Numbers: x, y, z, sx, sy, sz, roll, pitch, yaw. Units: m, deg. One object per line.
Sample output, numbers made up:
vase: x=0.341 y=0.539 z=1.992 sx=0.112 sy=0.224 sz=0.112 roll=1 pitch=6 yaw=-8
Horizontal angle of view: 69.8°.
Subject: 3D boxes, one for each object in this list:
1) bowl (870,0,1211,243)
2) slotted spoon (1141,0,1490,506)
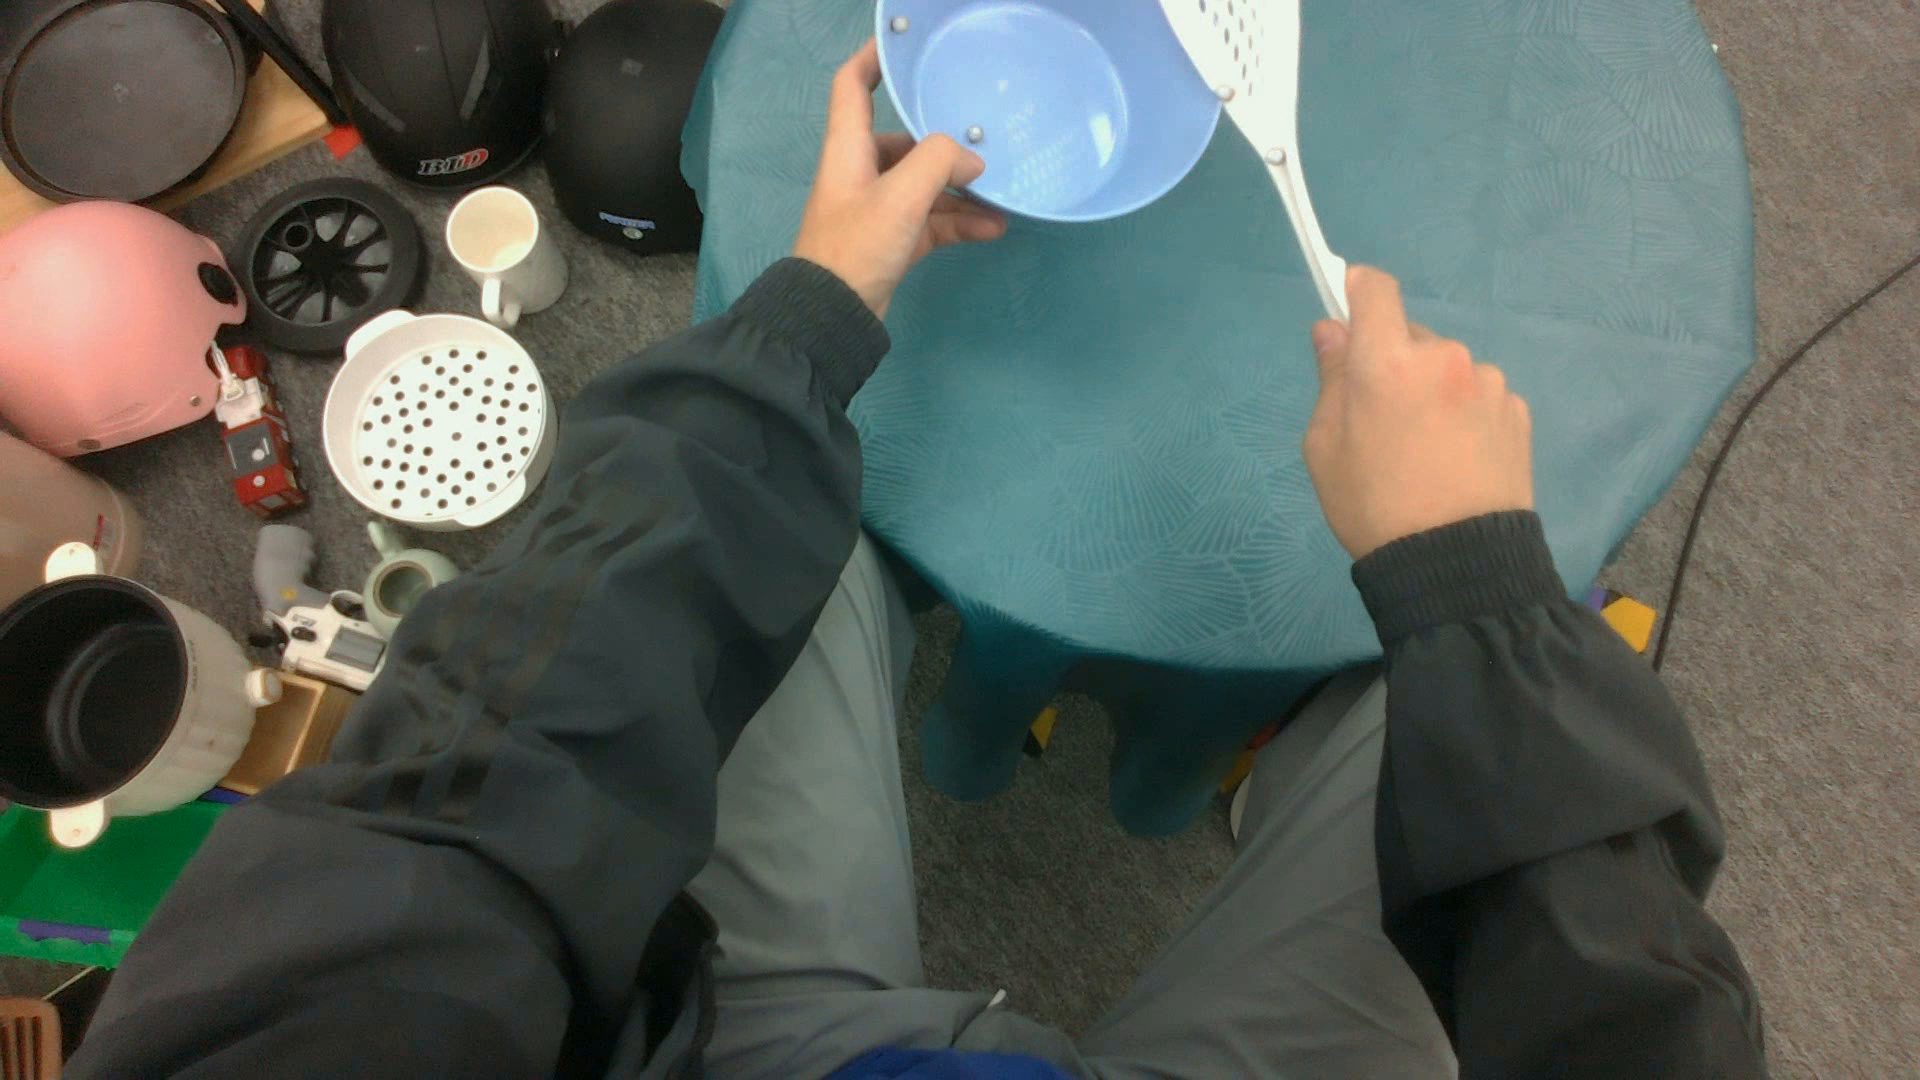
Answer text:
bowl: x=0.036 y=-0.225 z=0.713 sx=0.176 sy=0.070 sz=0.176 roll=3 pitch=79 yaw=-13
slotted spoon: x=0.155 y=-0.172 z=0.626 sx=0.050 sy=0.136 sz=0.348 roll=-16 pitch=82 yaw=-6
